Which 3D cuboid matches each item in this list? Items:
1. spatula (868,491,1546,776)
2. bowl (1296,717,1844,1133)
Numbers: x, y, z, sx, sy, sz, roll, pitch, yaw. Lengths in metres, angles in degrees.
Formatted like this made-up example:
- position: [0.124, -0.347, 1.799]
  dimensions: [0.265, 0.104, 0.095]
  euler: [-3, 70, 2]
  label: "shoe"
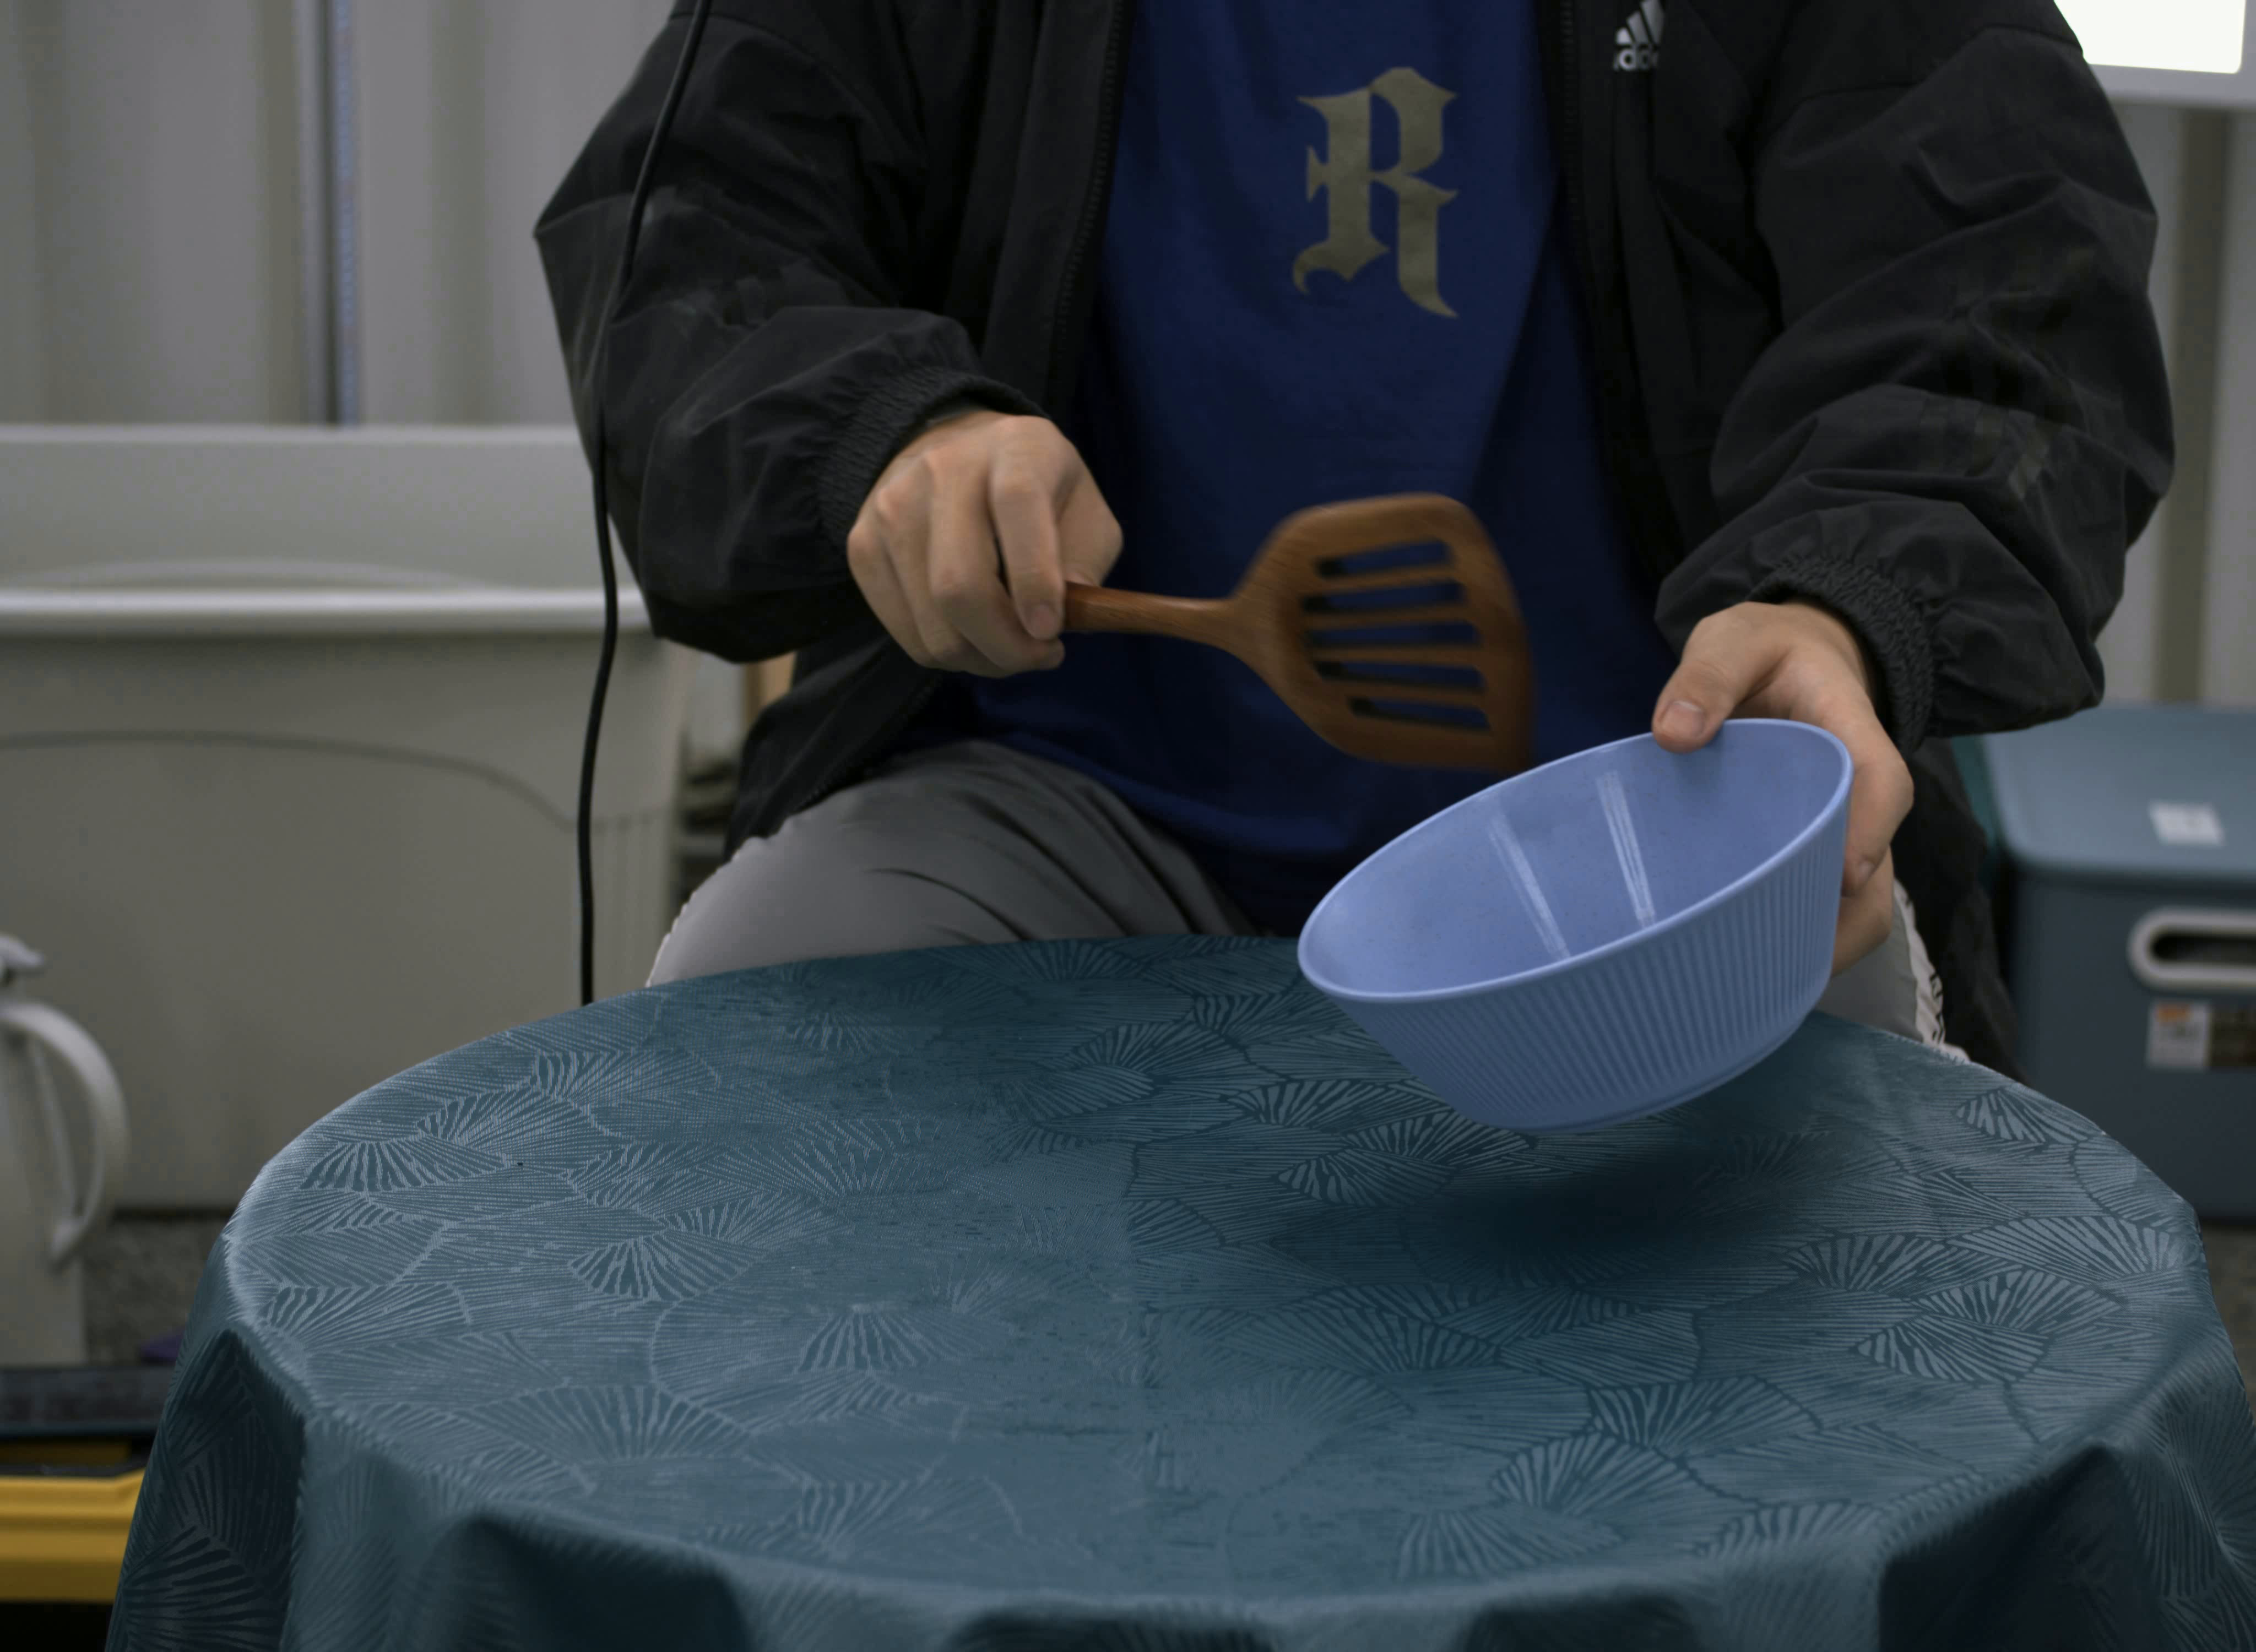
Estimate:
- position: [0.010, -0.064, 1.671]
  dimensions: [0.024, 0.086, 0.382]
  euler: [-17, 12, -29]
  label: "spatula"
- position: [0.142, 0.036, 1.582]
  dimensions: [0.175, 0.071, 0.175]
  euler: [-21, 17, 7]
  label: "bowl"
